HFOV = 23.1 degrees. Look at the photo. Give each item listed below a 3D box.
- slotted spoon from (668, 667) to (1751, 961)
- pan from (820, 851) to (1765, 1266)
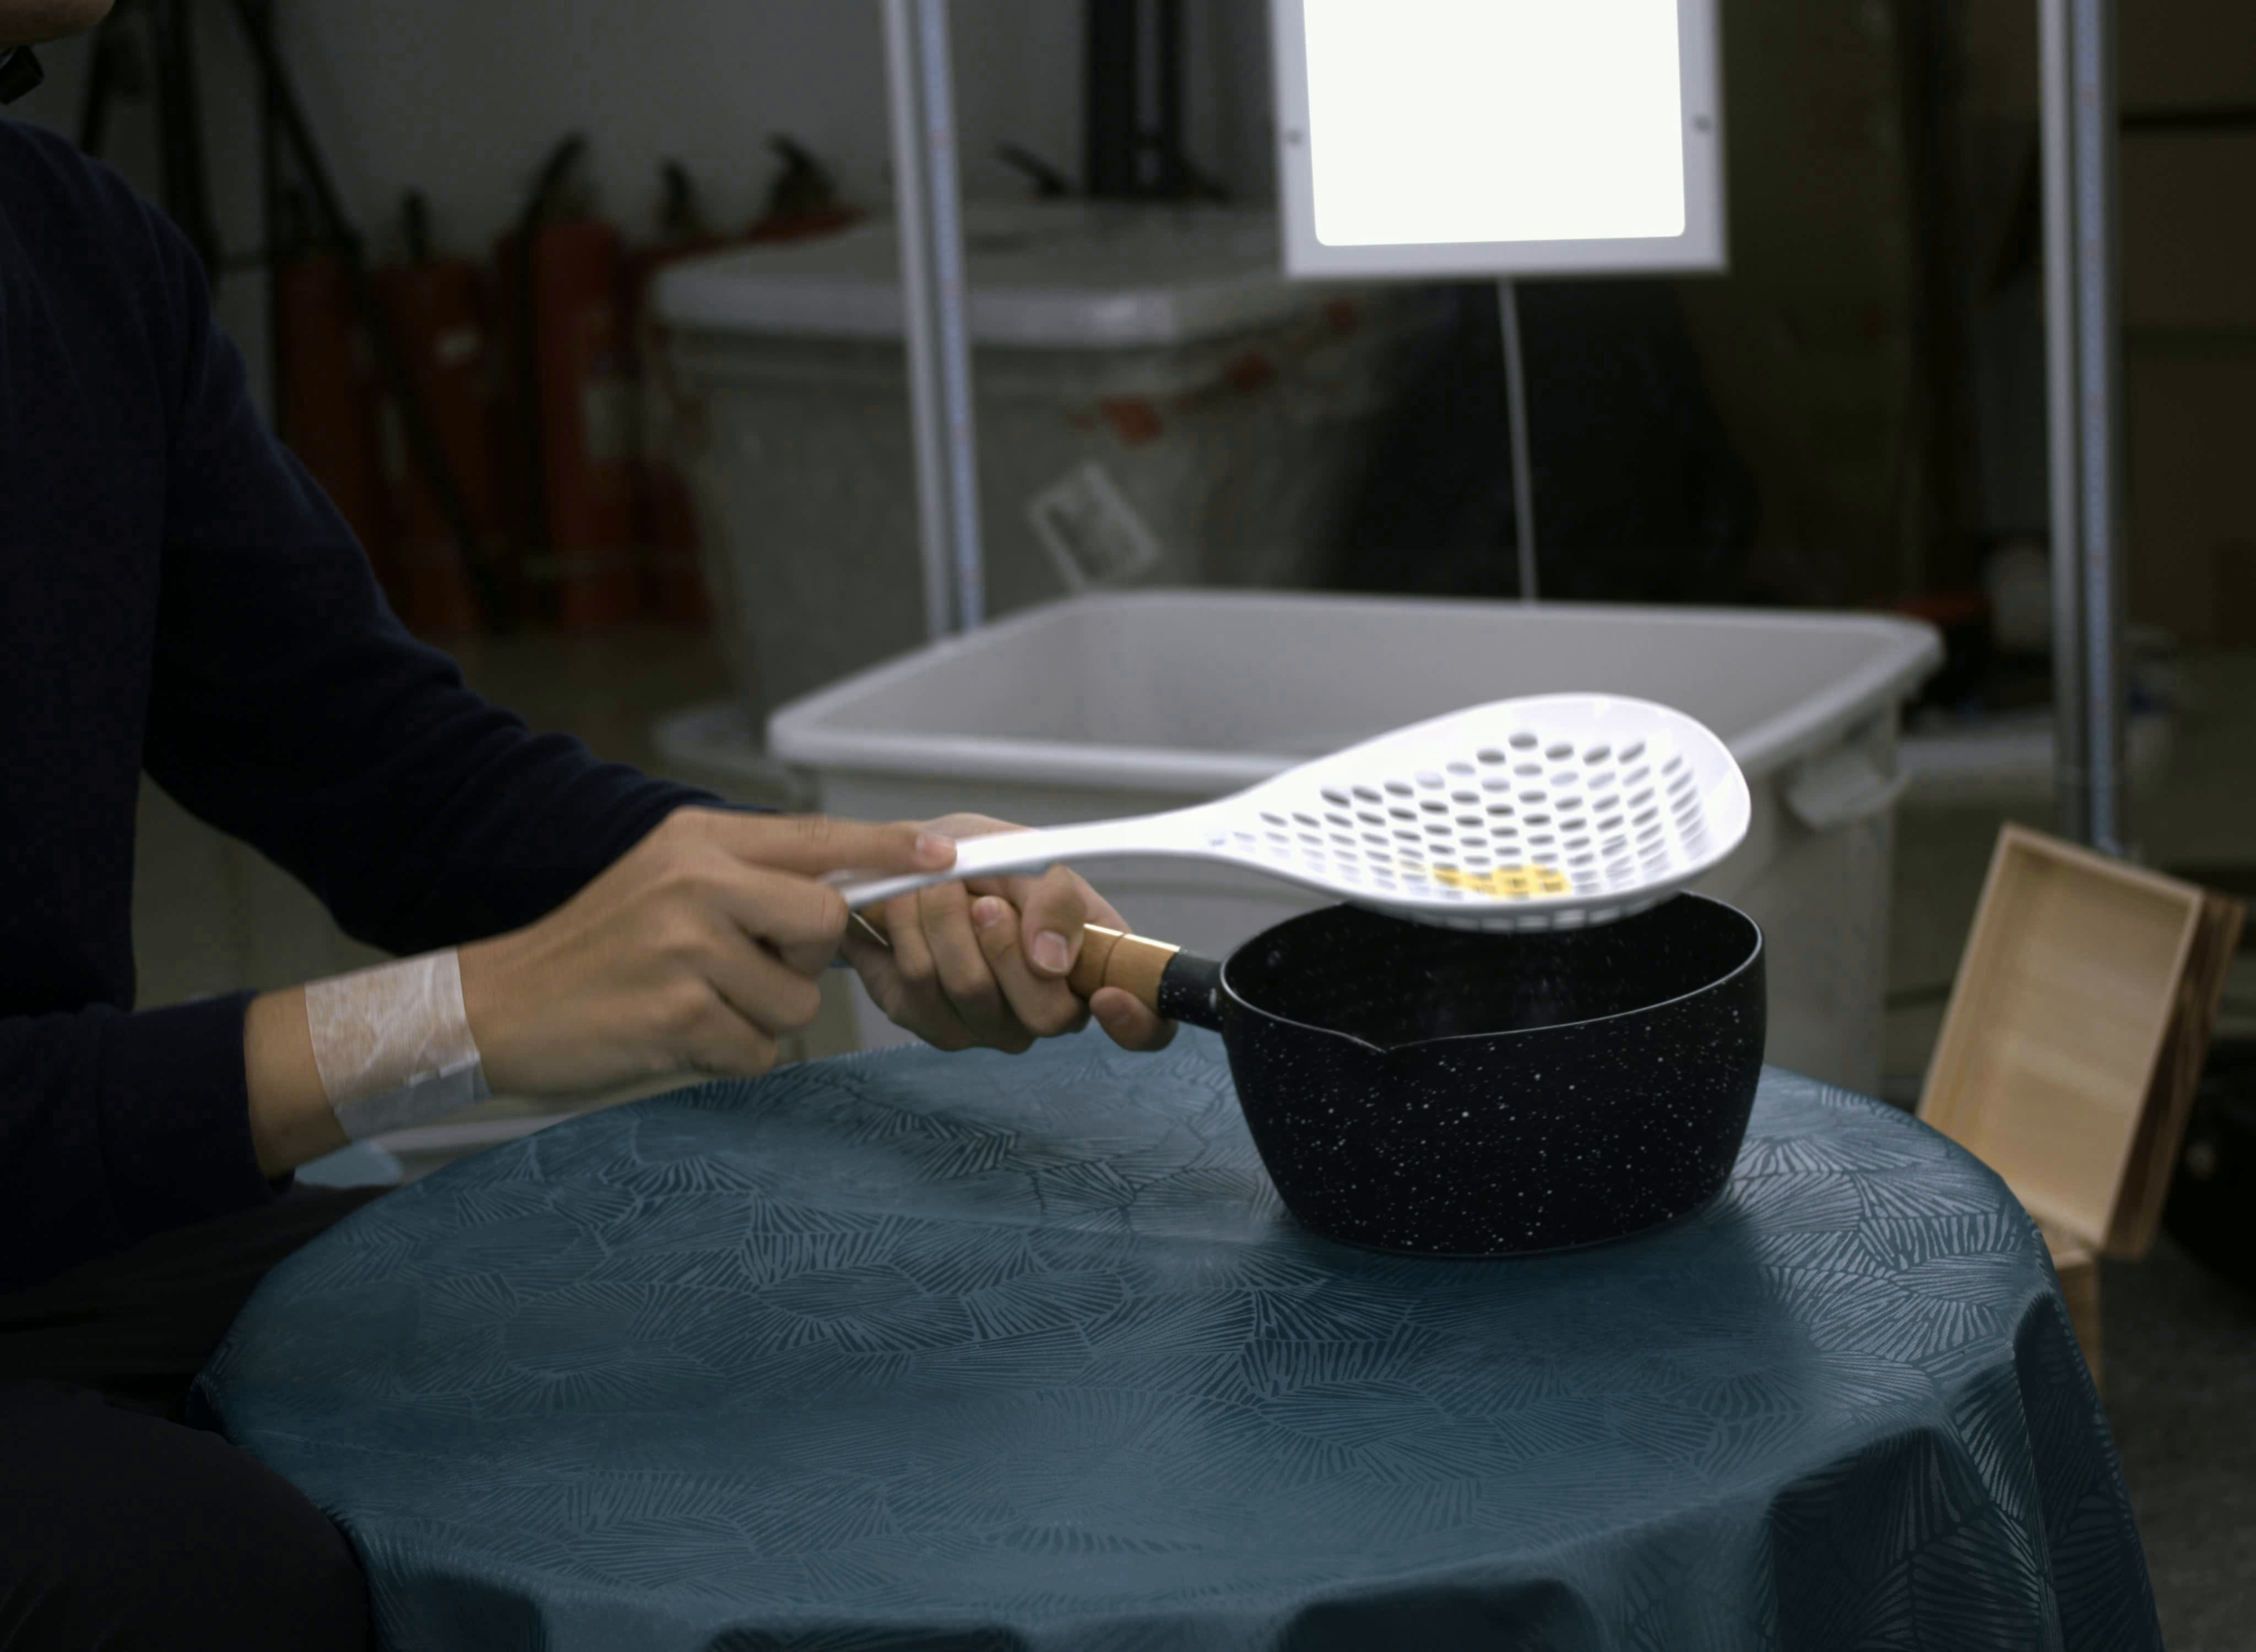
[{"bbox_3d":[0.025,0.007,1.758,0.346,0.050,0.137,-3,29,-3],"label":"slotted spoon"},{"bbox_3d":[0.050,0.069,1.880,0.348,0.108,0.203,2,18,25],"label":"pan"}]
